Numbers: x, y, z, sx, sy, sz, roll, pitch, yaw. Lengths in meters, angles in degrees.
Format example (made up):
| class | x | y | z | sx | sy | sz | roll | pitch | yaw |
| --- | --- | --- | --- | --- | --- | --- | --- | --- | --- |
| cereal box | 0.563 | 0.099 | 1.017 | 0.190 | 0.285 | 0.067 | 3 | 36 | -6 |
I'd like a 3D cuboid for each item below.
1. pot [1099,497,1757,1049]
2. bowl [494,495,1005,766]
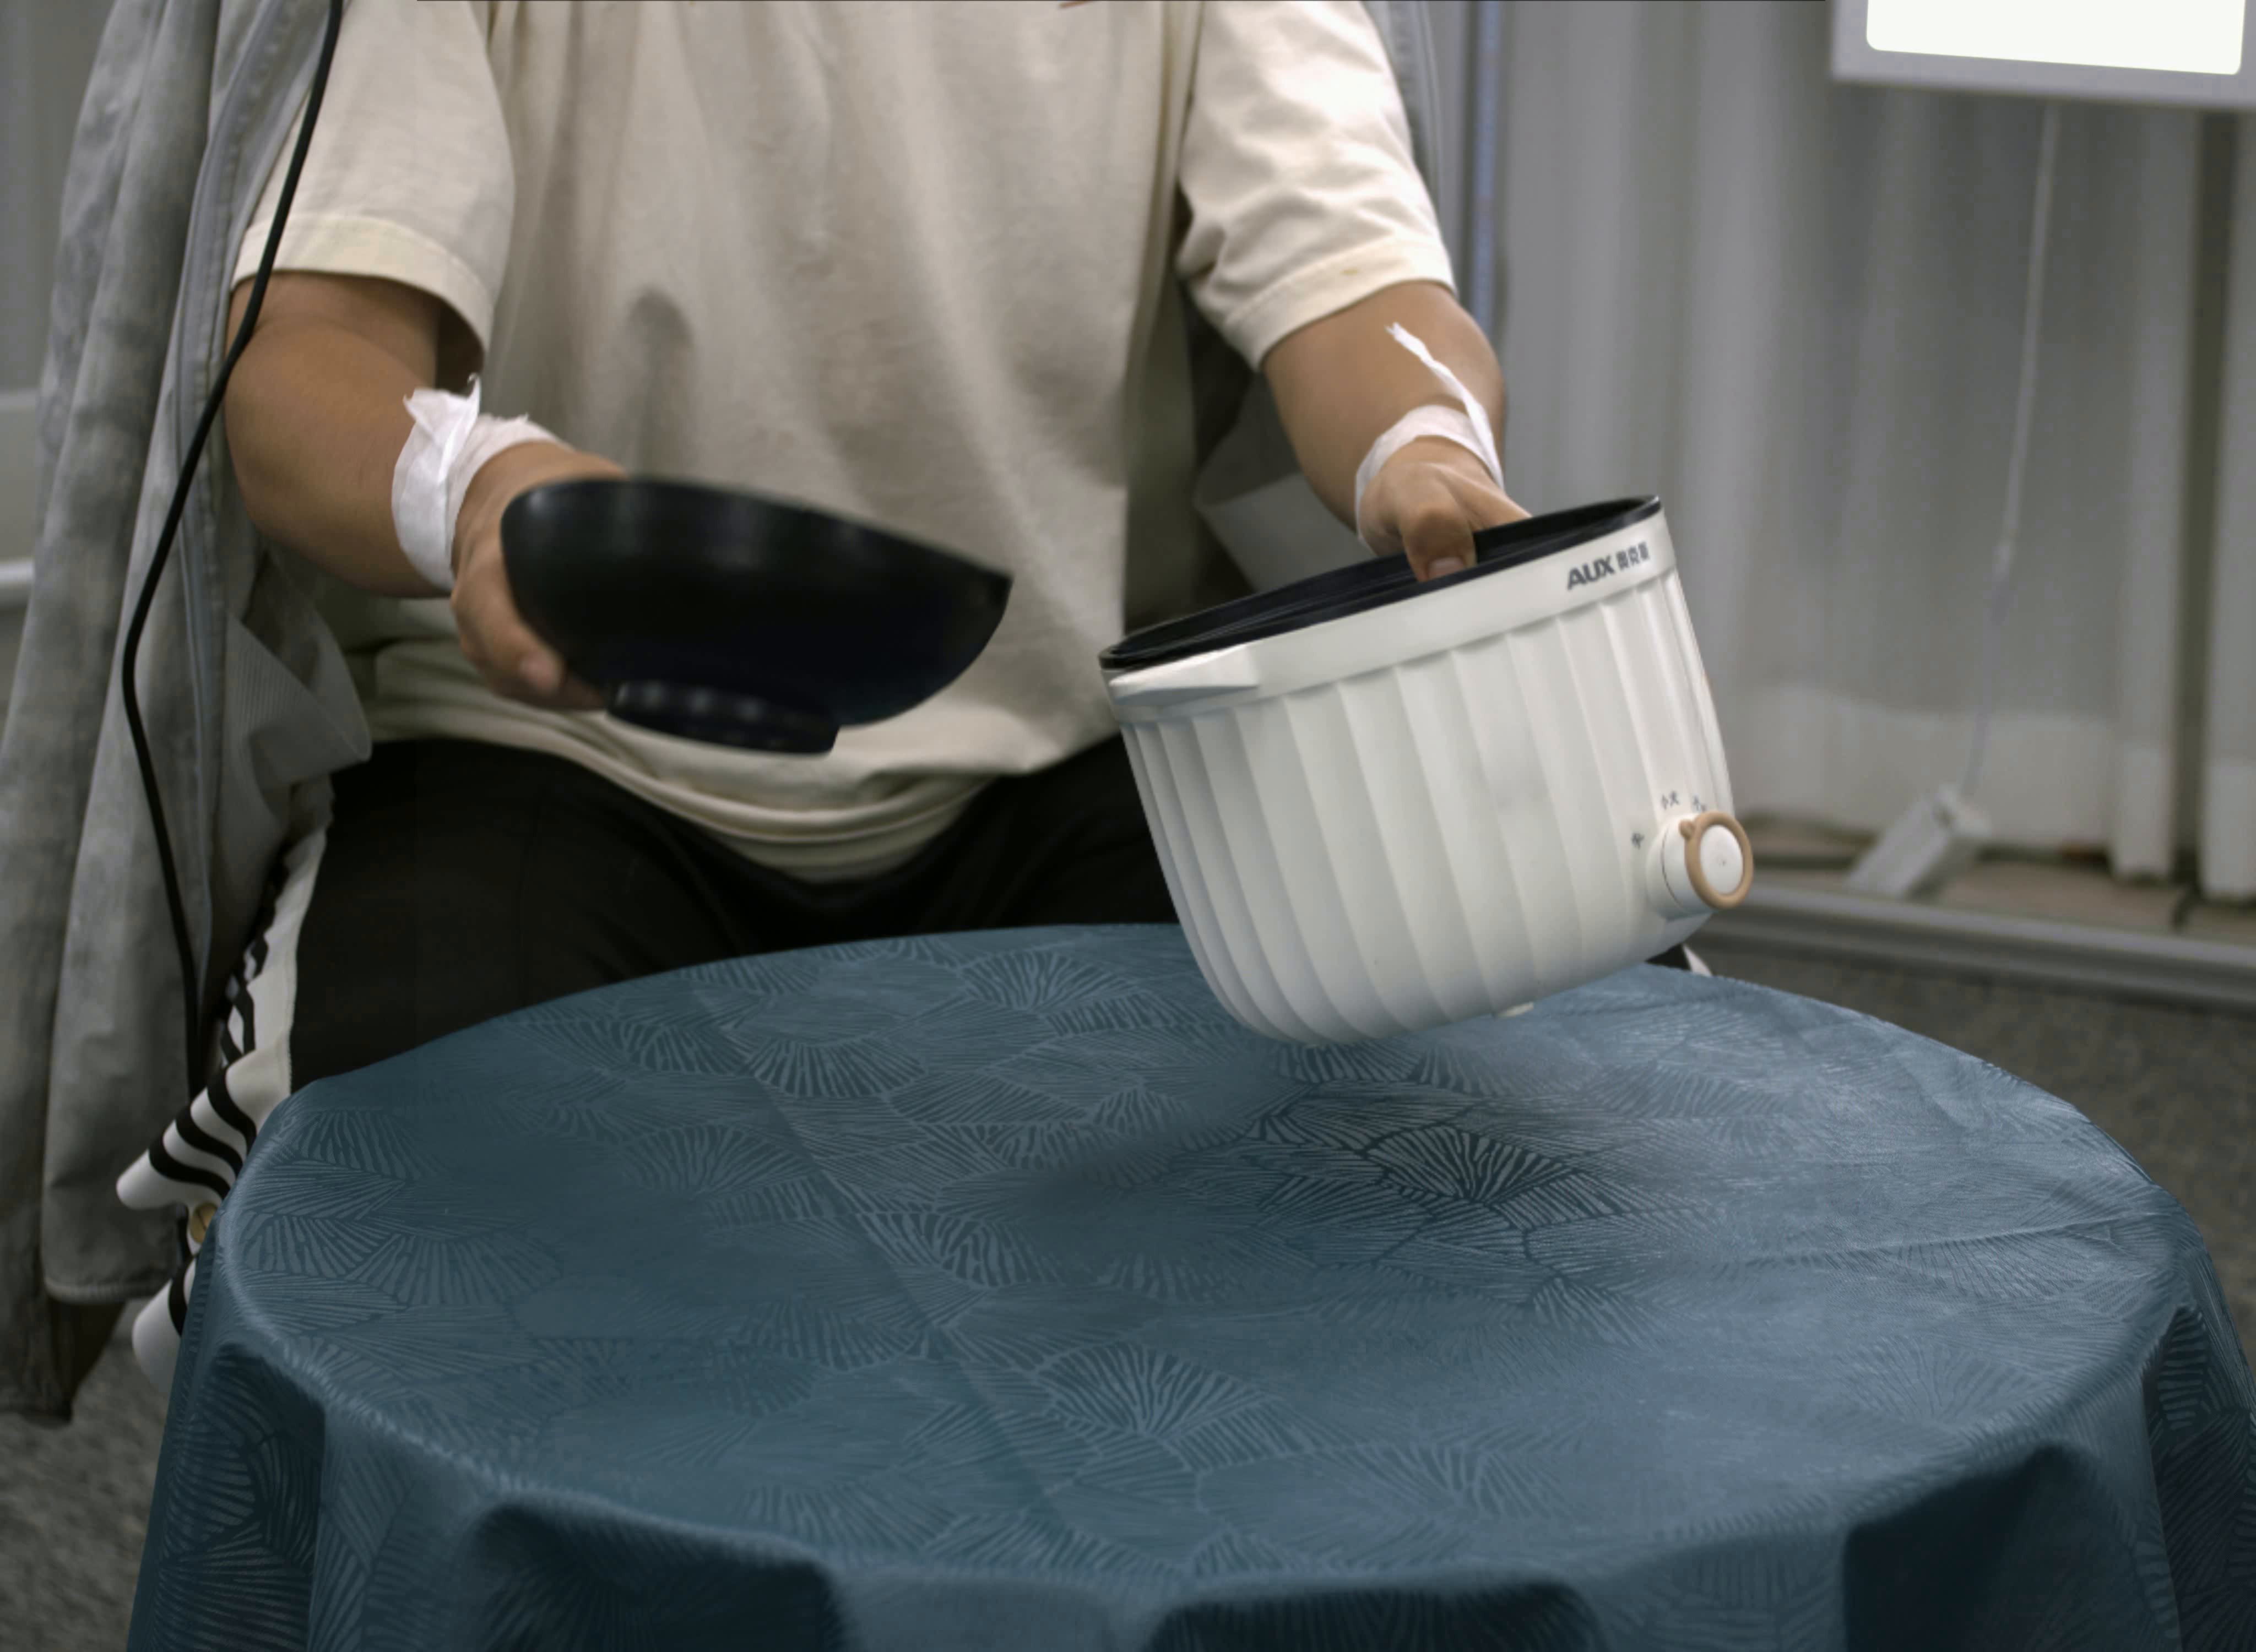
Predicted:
| class | x | y | z | sx | sy | sz | roll | pitch | yaw |
| --- | --- | --- | --- | --- | --- | --- | --- | --- | --- |
| pot | 0.100 | -0.014 | 1.634 | 0.189 | 0.143 | 0.241 | -14 | 6 | 43 |
| bowl | -0.119 | -0.055 | 1.569 | 0.168 | 0.067 | 0.139 | 4 | -8 | 36 |
